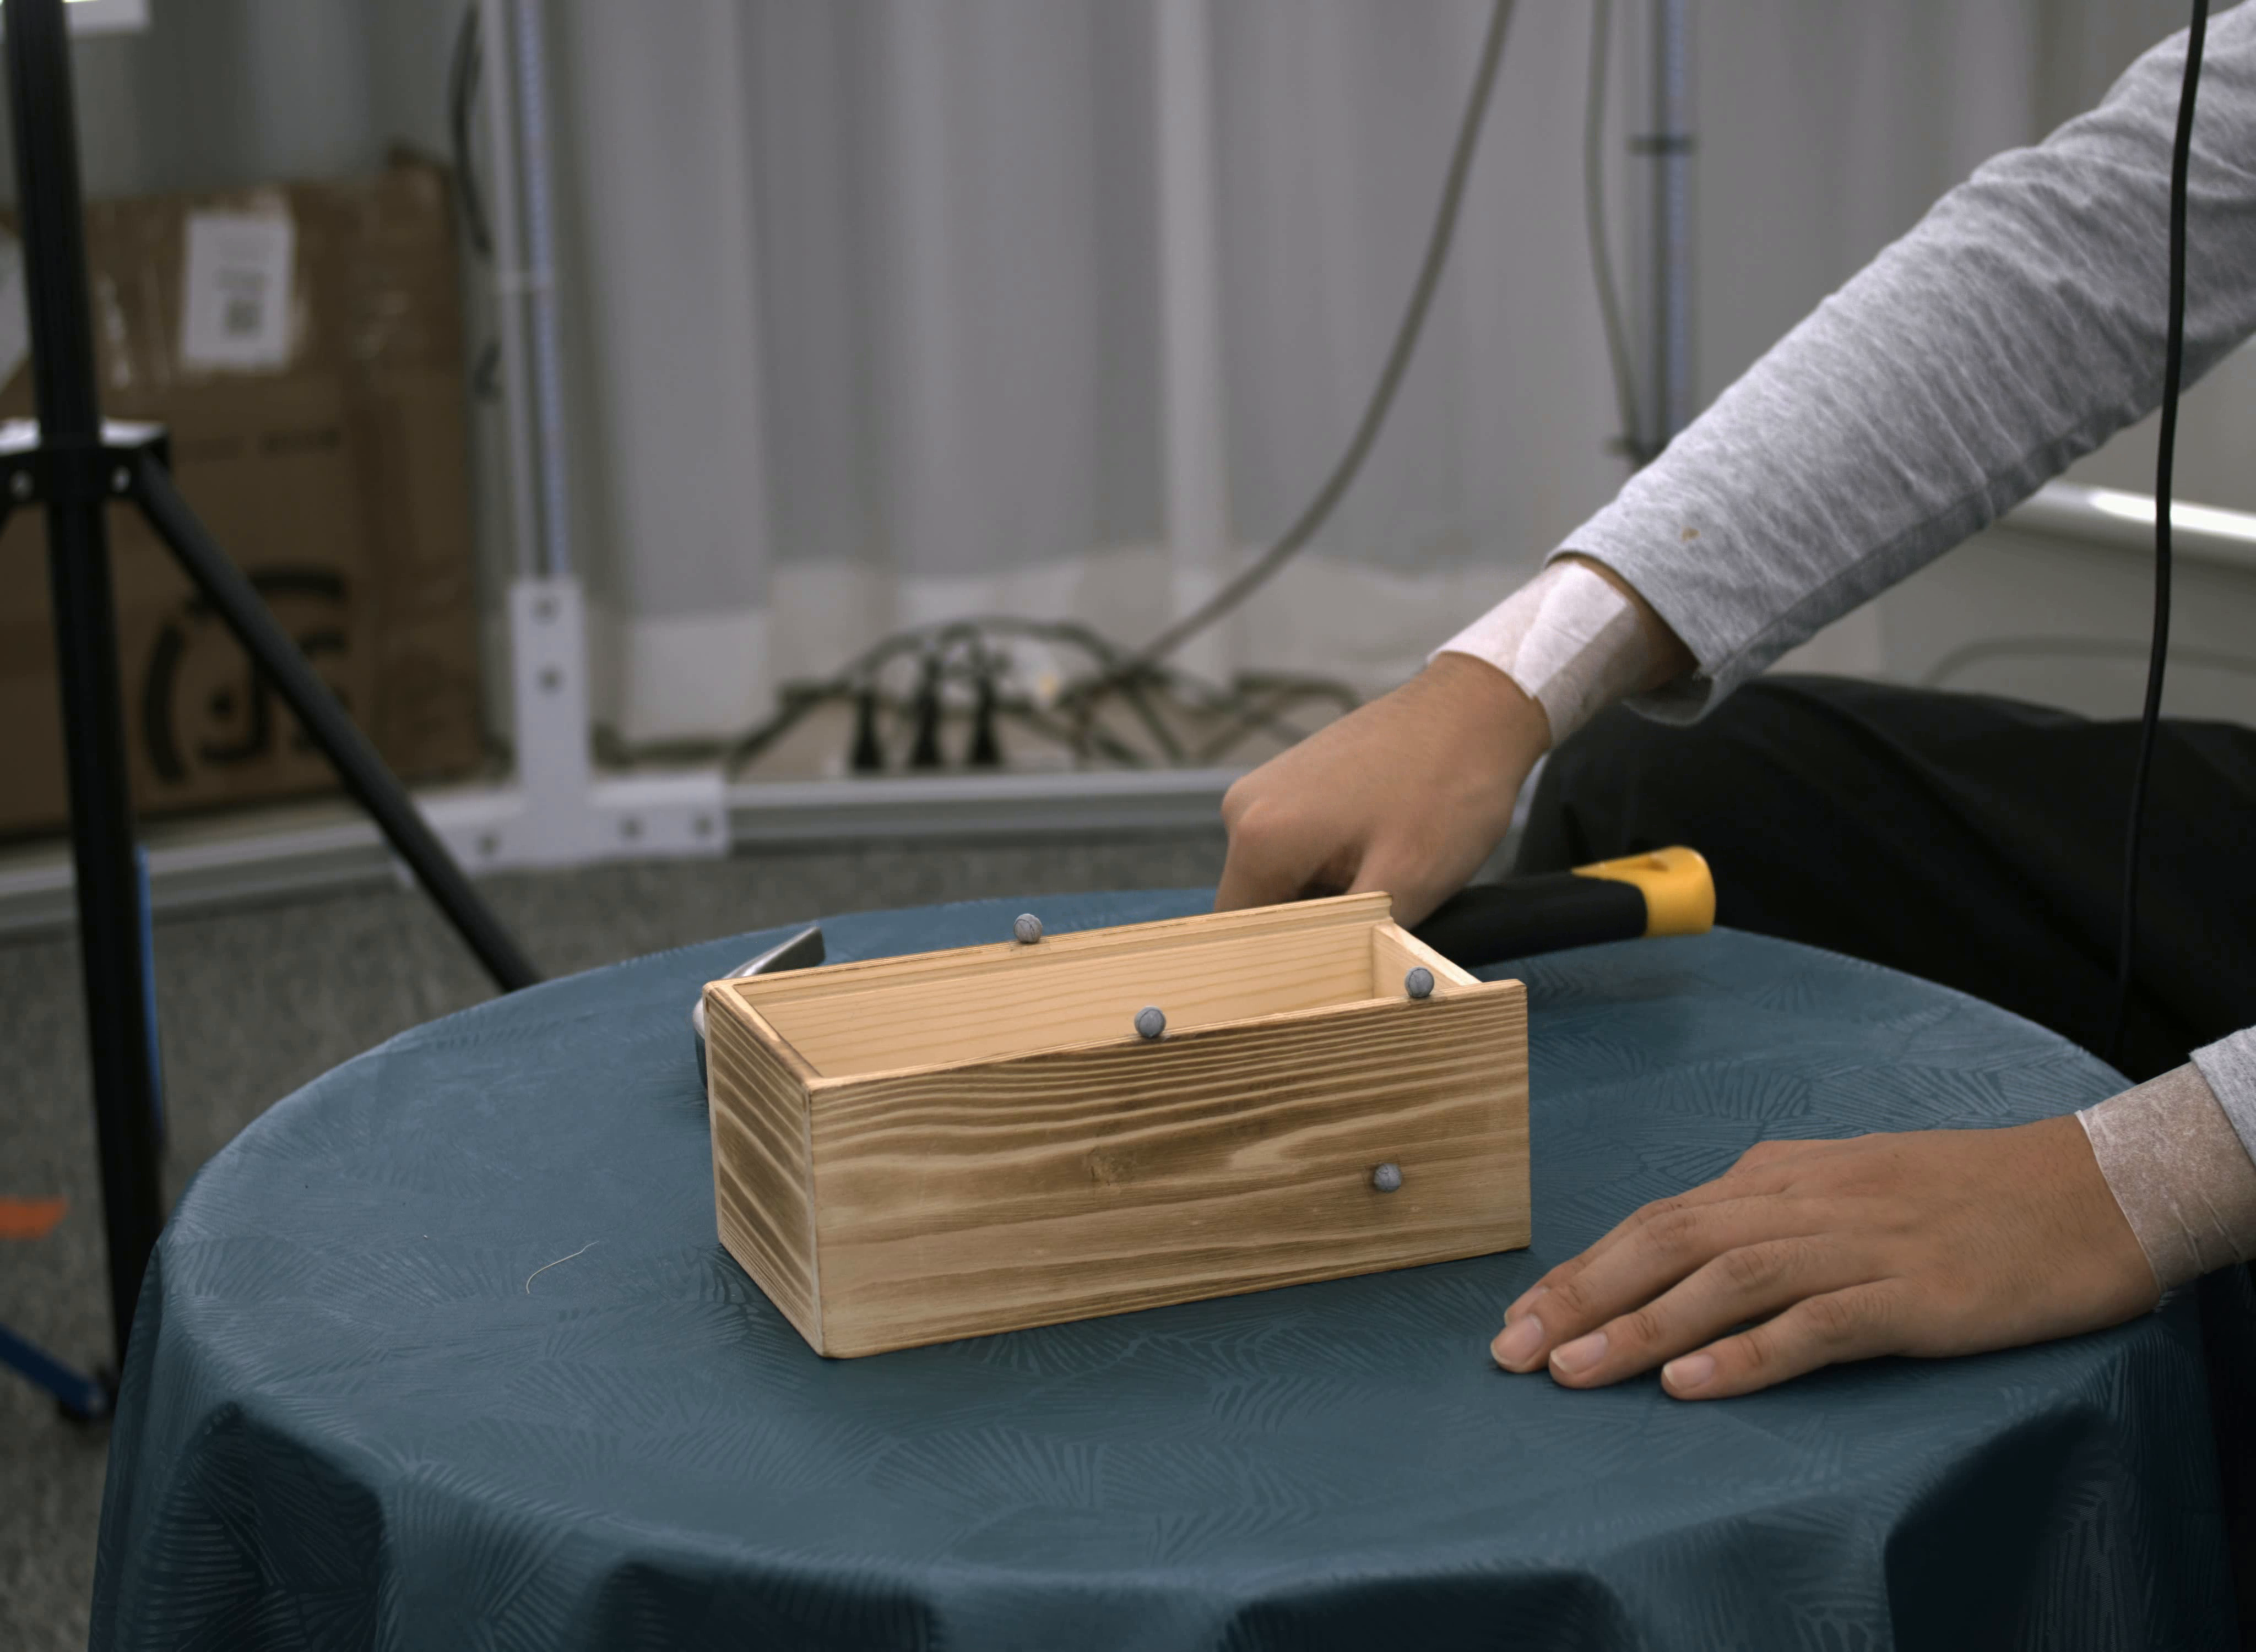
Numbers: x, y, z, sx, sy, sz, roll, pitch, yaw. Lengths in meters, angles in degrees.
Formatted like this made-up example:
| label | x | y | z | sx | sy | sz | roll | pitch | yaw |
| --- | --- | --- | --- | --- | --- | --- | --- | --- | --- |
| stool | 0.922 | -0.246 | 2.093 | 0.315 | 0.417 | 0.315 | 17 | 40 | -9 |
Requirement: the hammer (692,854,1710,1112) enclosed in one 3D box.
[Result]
| label | x | y | z | sx | sy | sz | roll | pitch | yaw |
| --- | --- | --- | --- | --- | --- | --- | --- | --- | --- |
| hammer | 0.027 | 0.047 | 1.691 | 0.333 | 0.032 | 0.133 | -9 | 15 | -14 |

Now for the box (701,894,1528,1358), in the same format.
| label | x | y | z | sx | sy | sz | roll | pitch | yaw |
| --- | --- | --- | --- | --- | --- | --- | --- | --- | --- |
| box | -0.004 | 0.082 | 1.503 | 0.208 | 0.080 | 0.109 | -8 | 16 | -17 |
